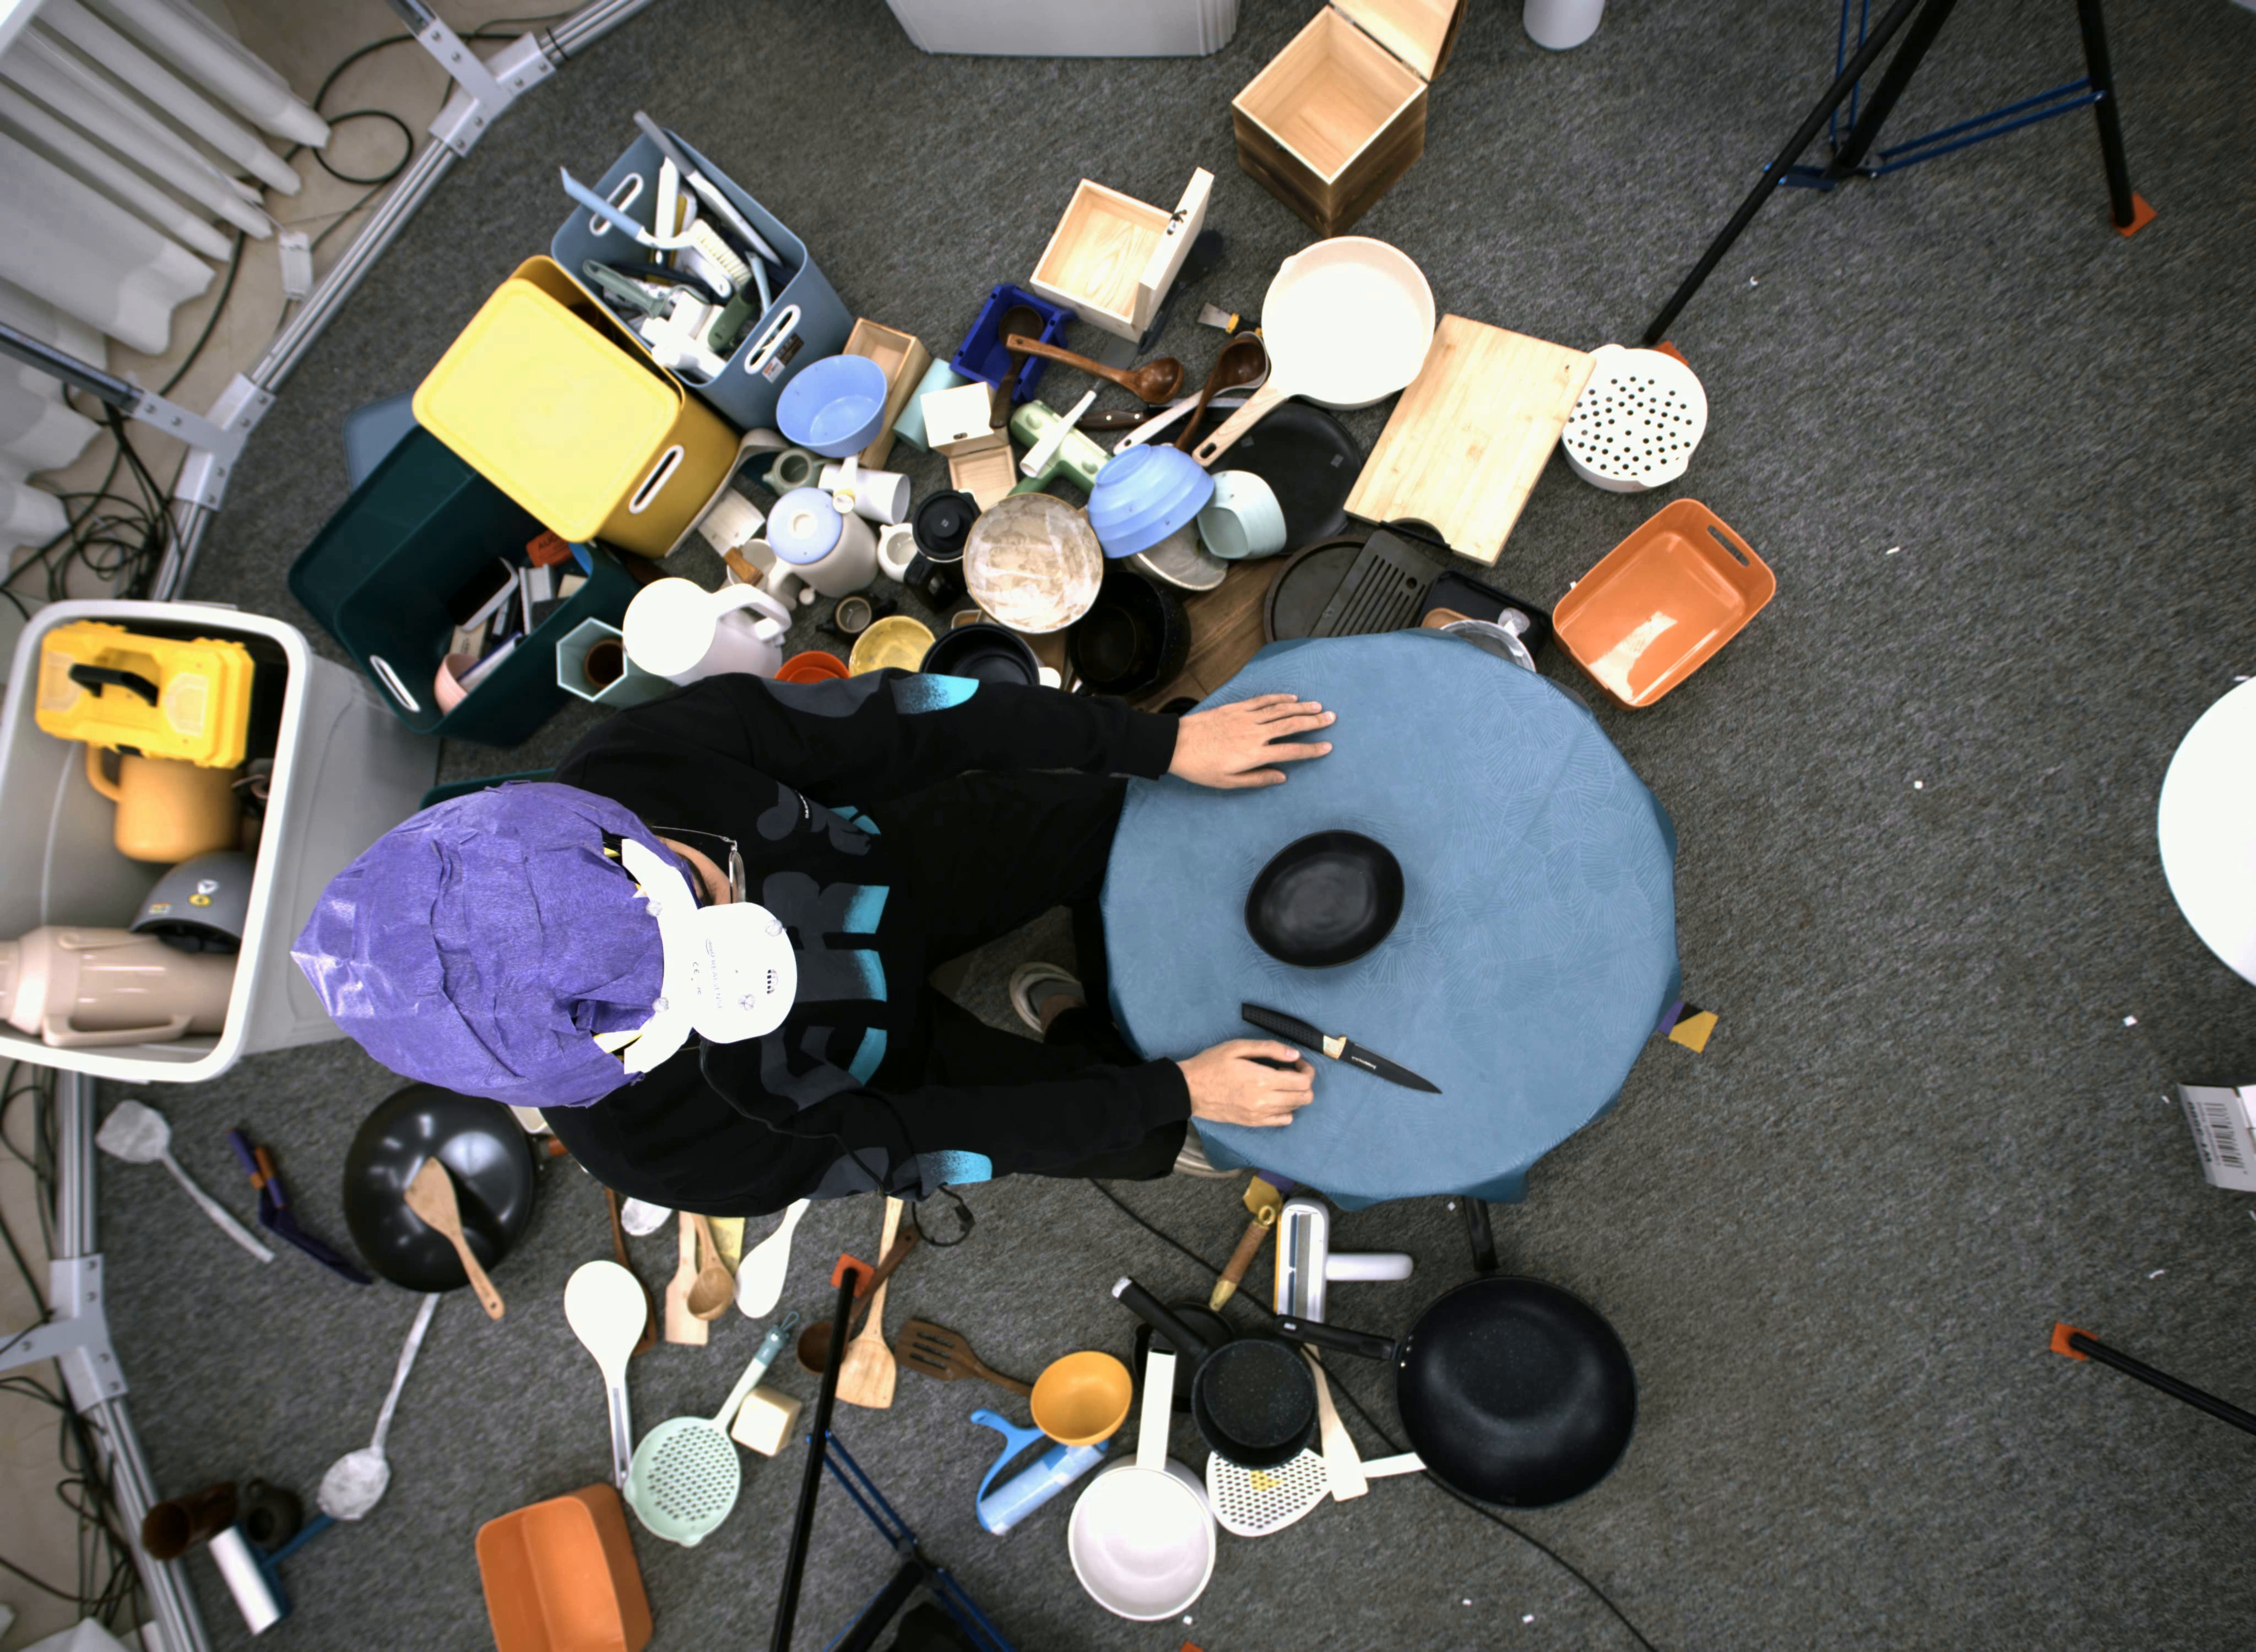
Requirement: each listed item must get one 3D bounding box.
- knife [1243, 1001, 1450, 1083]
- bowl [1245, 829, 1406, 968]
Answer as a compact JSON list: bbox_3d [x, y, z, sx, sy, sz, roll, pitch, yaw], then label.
[{"bbox_3d":[0.228,0.230,1.453,0.225,0.017,0.026,21,95,10],"label":"knife"},{"bbox_3d":[0.207,0.077,1.439,0.171,0.066,0.136,-26,82,10],"label":"bowl"}]
